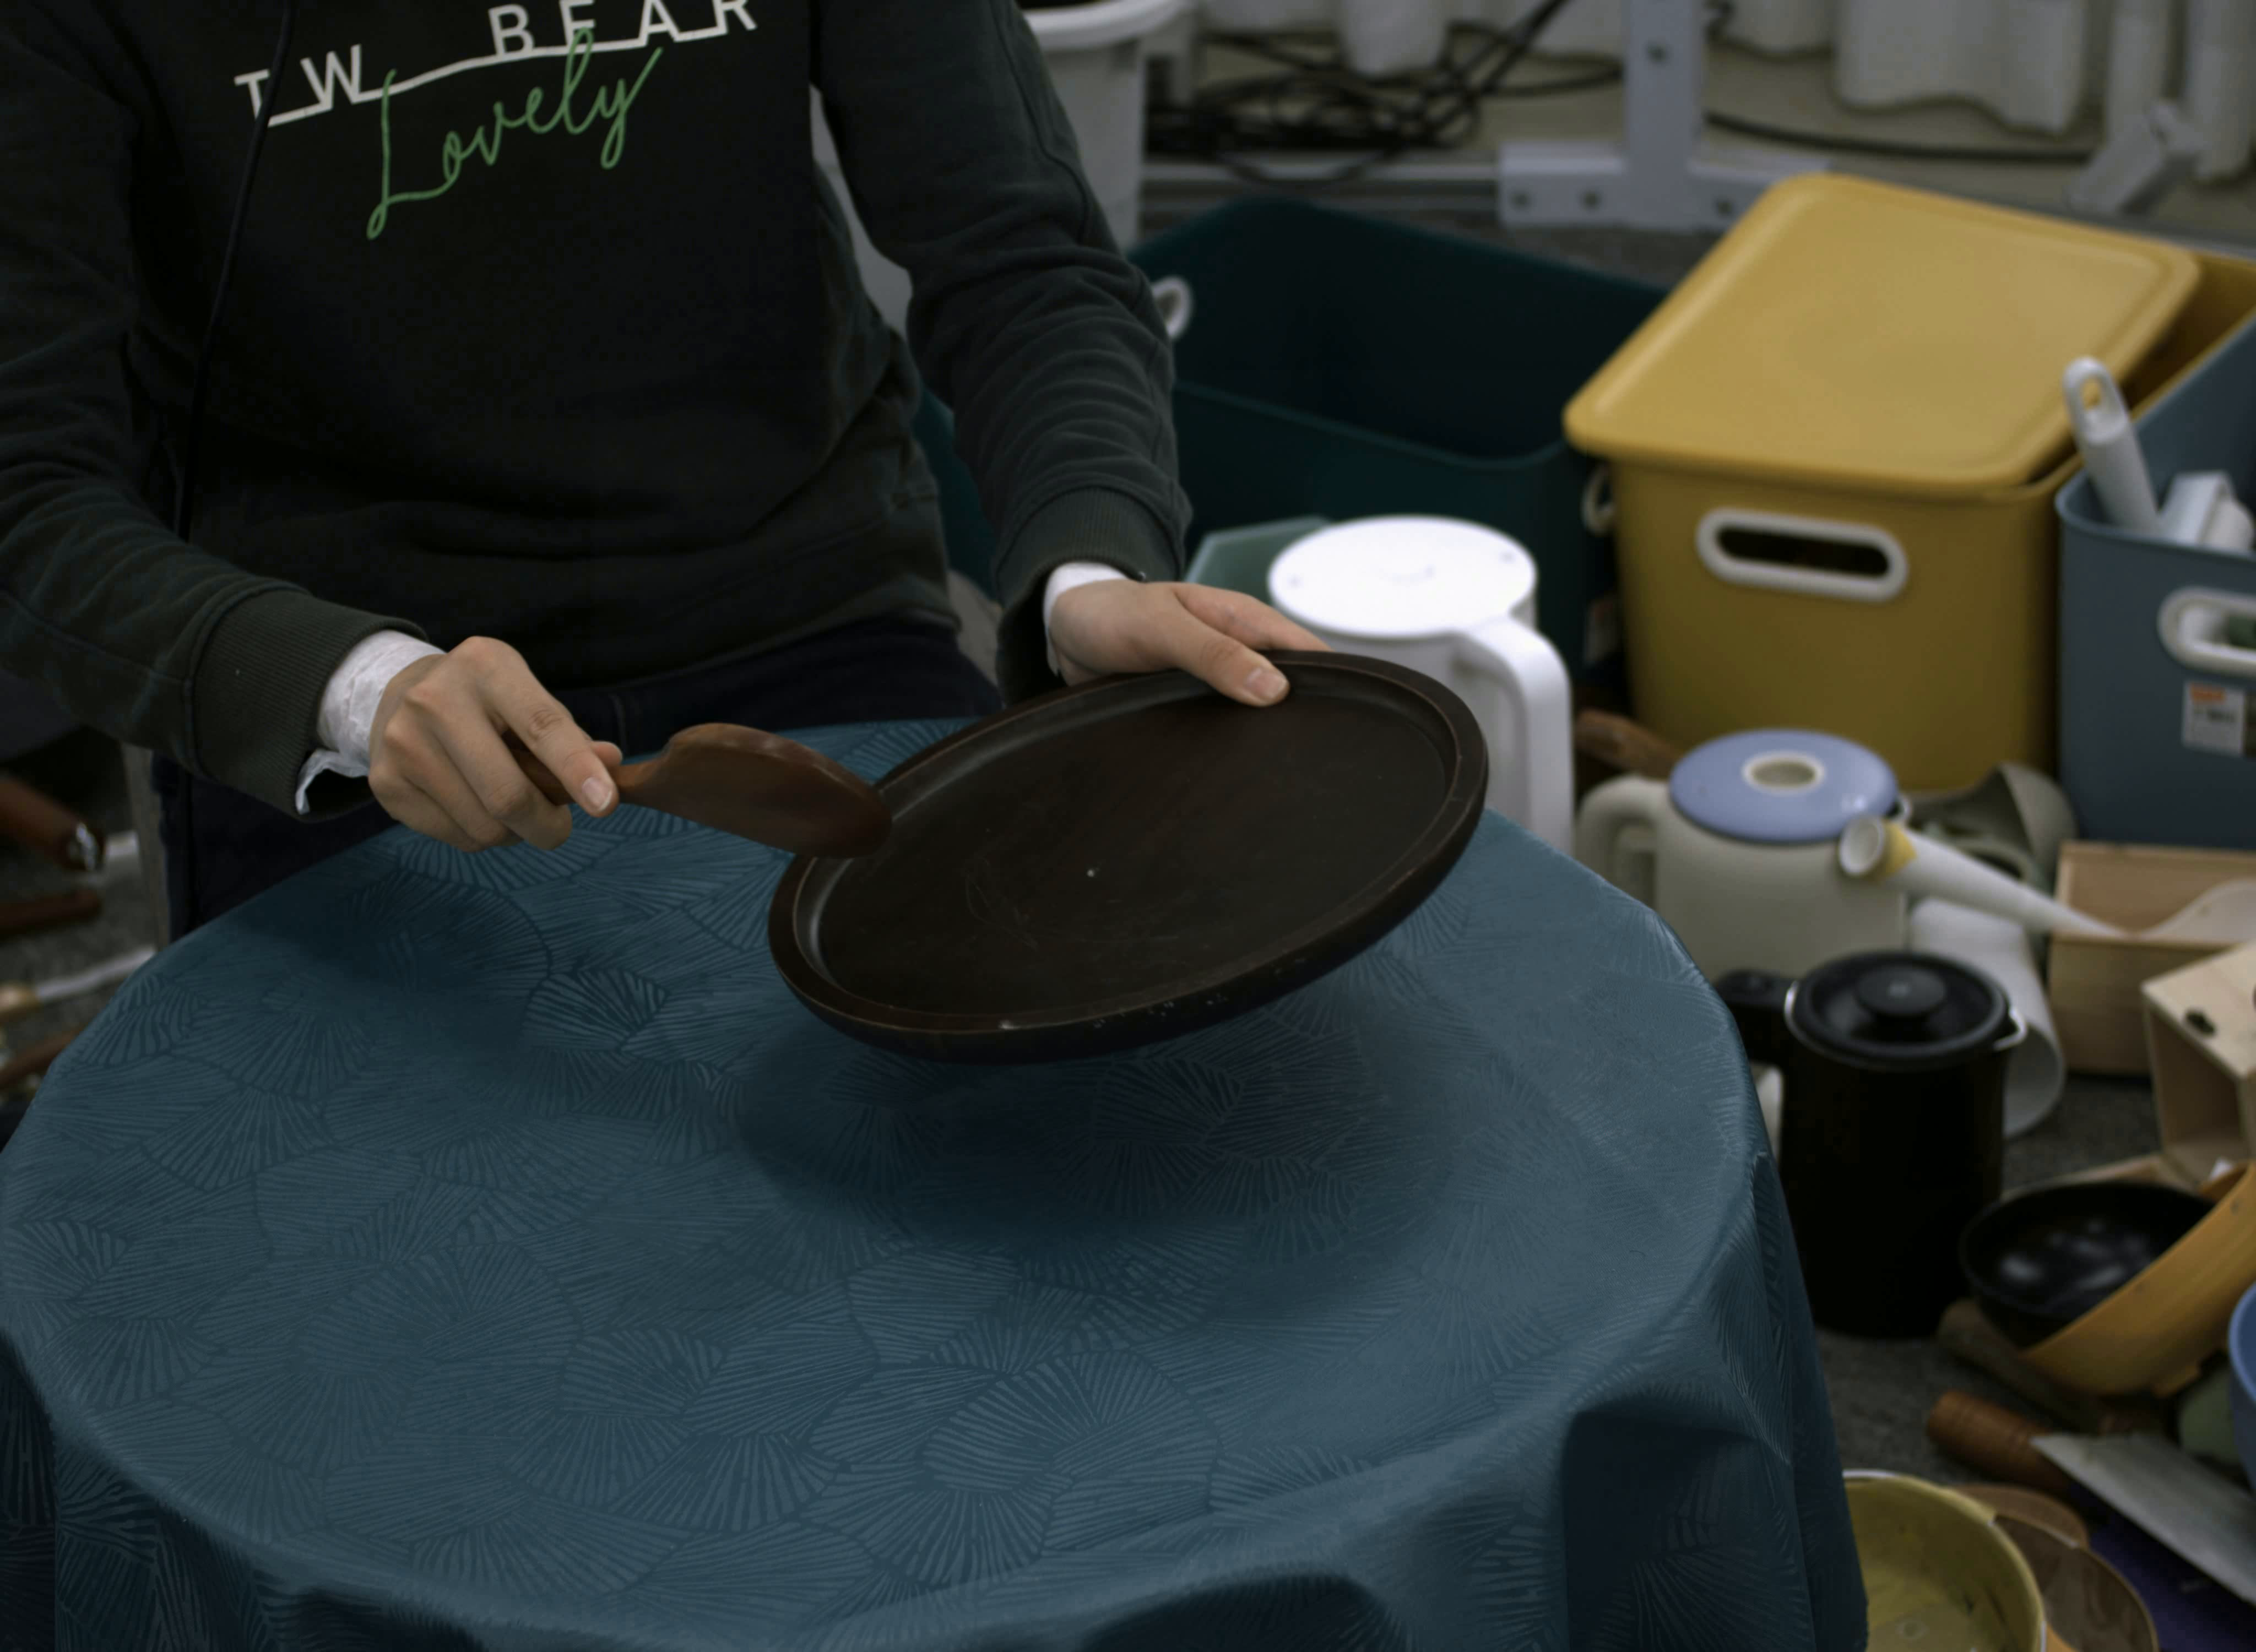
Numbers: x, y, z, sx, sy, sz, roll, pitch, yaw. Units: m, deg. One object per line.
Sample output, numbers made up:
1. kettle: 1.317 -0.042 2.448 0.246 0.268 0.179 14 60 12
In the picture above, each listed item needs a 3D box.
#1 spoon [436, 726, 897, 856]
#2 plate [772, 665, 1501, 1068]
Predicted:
1. spoon: -0.161 -0.012 1.886 0.214 0.075 0.017 4 63 45
2. plate: 0.003 0.012 1.900 0.253 0.029 0.258 -12 27 7
